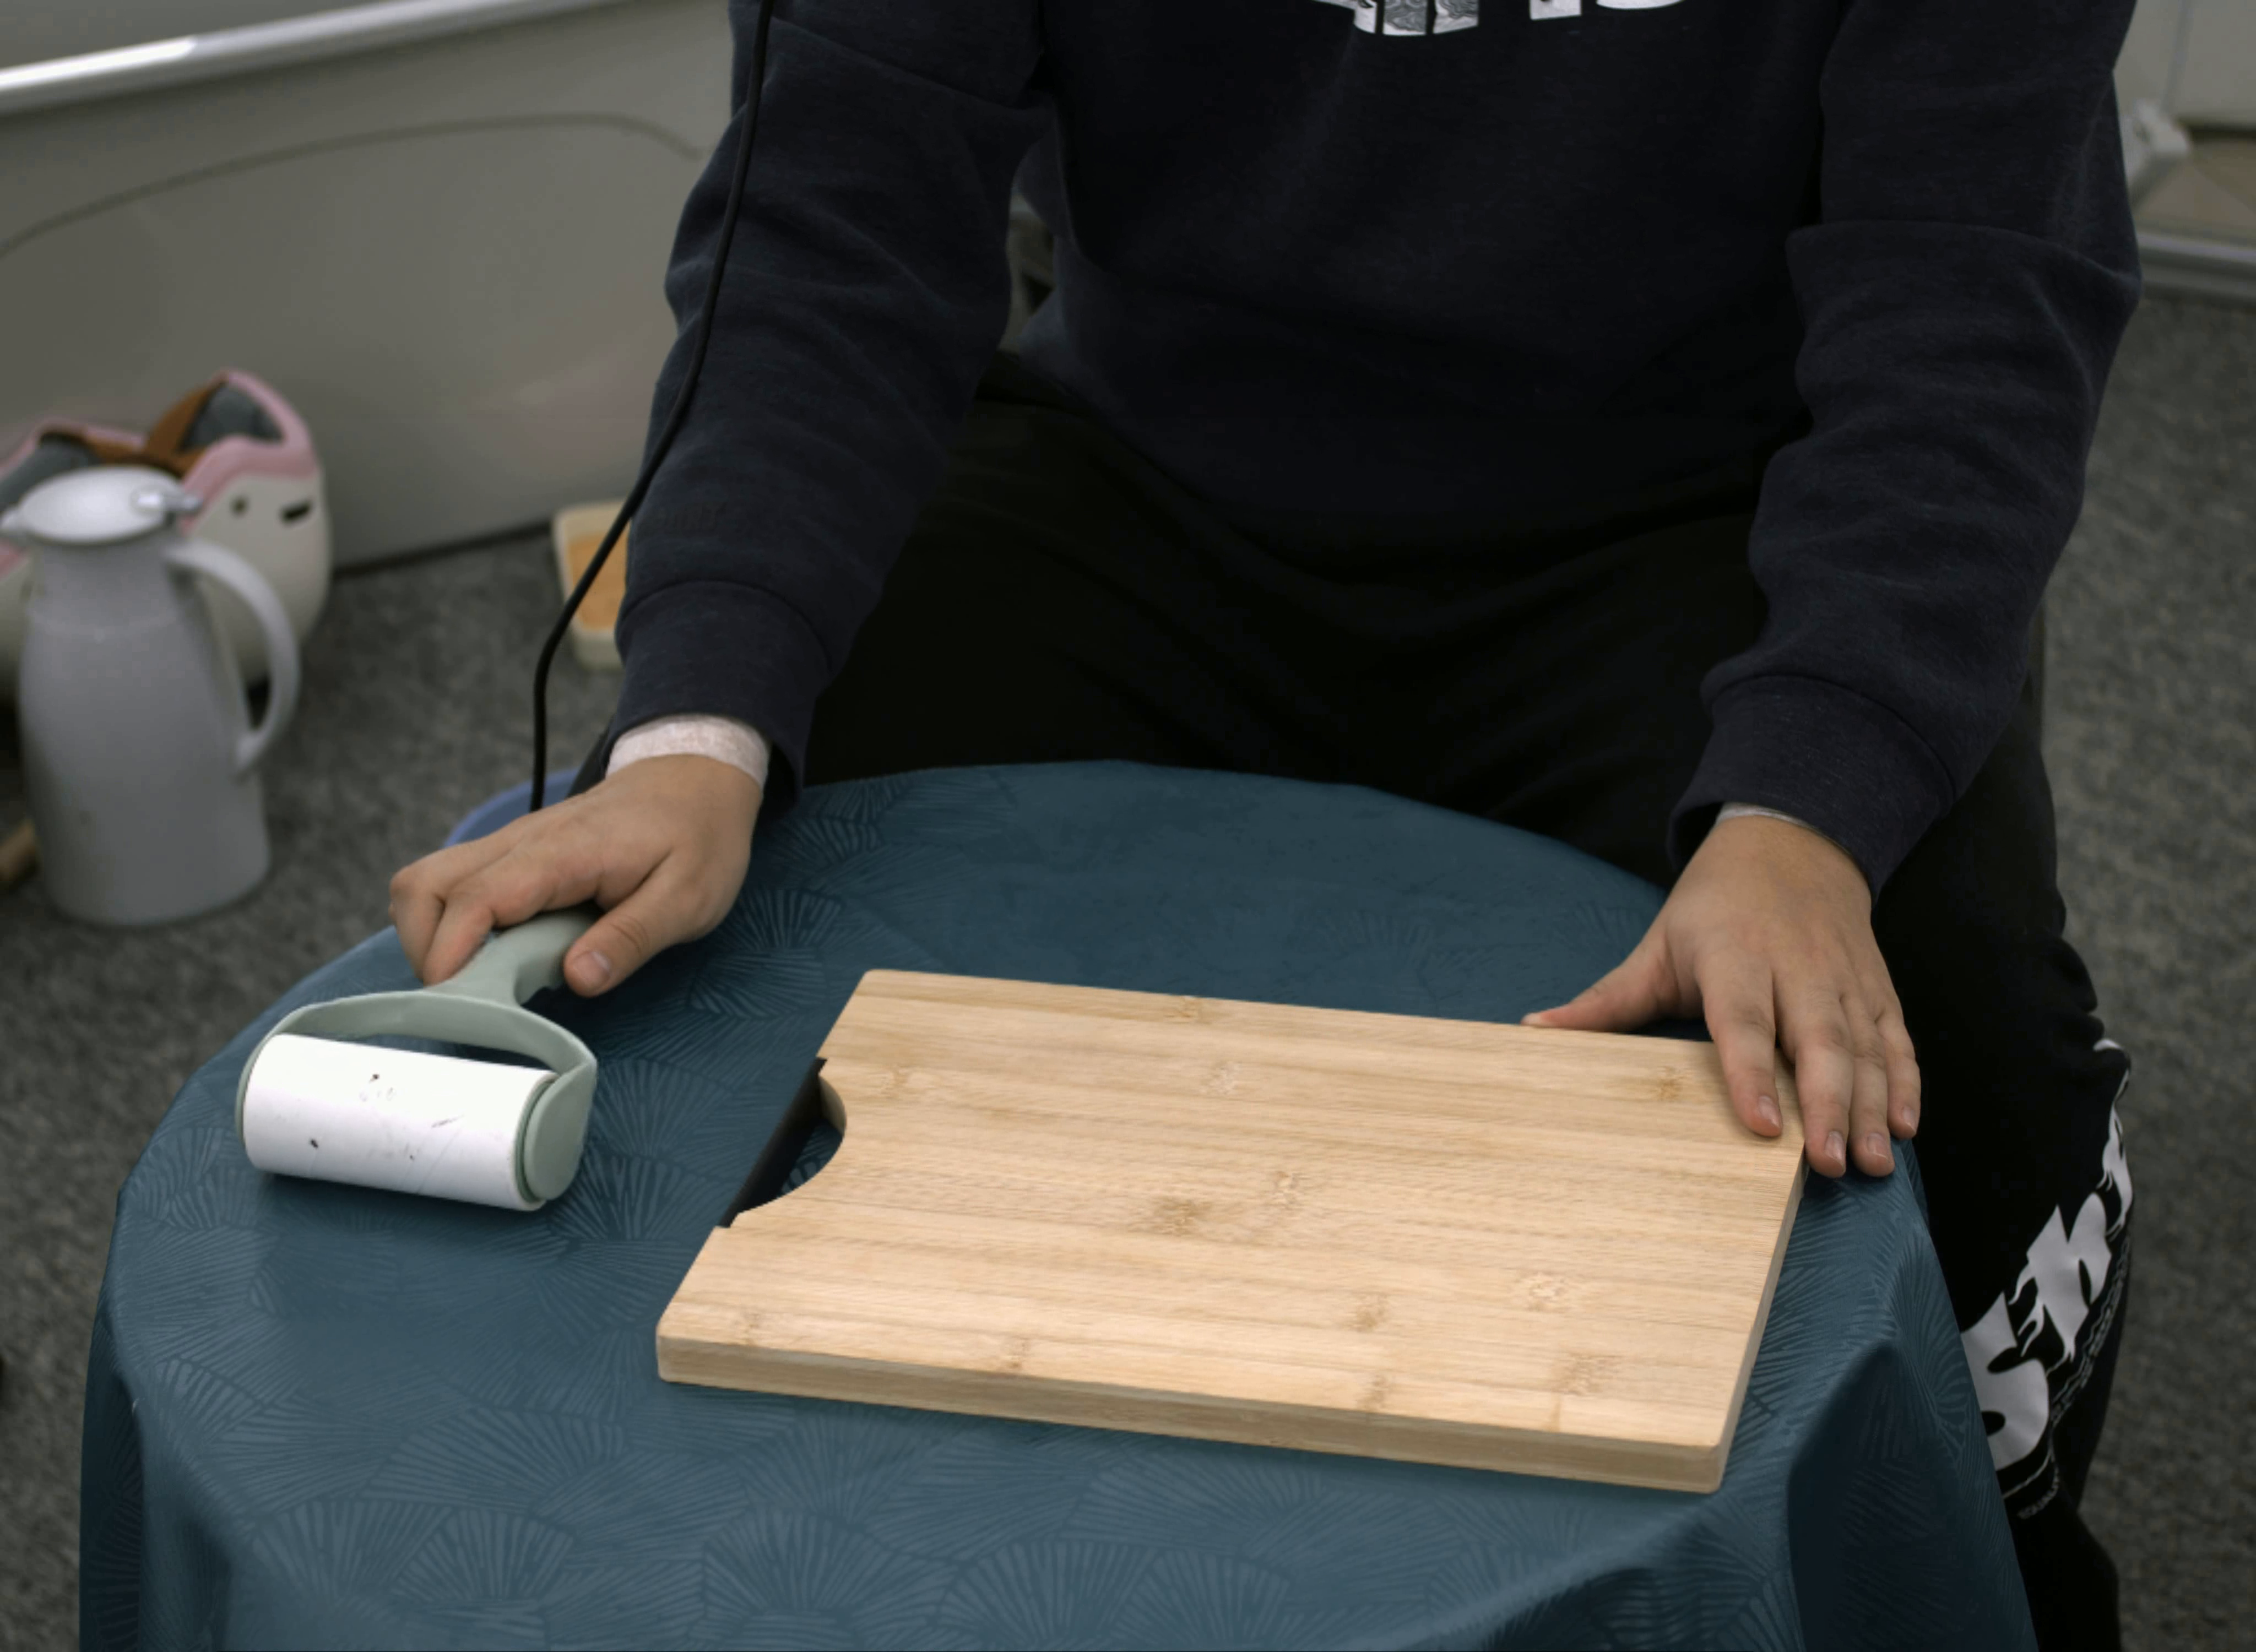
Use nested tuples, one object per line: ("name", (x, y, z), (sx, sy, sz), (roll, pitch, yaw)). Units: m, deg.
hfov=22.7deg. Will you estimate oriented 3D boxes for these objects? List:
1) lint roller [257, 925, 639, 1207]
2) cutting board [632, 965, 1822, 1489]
("lint roller", (-0.210, 0.070, 1.938), (0.116, 0.048, 0.201), (4, 26, 18))
("cutting board", (0.038, 0.126, 1.836), (0.346, 0.023, 0.255), (4, 28, 13))
